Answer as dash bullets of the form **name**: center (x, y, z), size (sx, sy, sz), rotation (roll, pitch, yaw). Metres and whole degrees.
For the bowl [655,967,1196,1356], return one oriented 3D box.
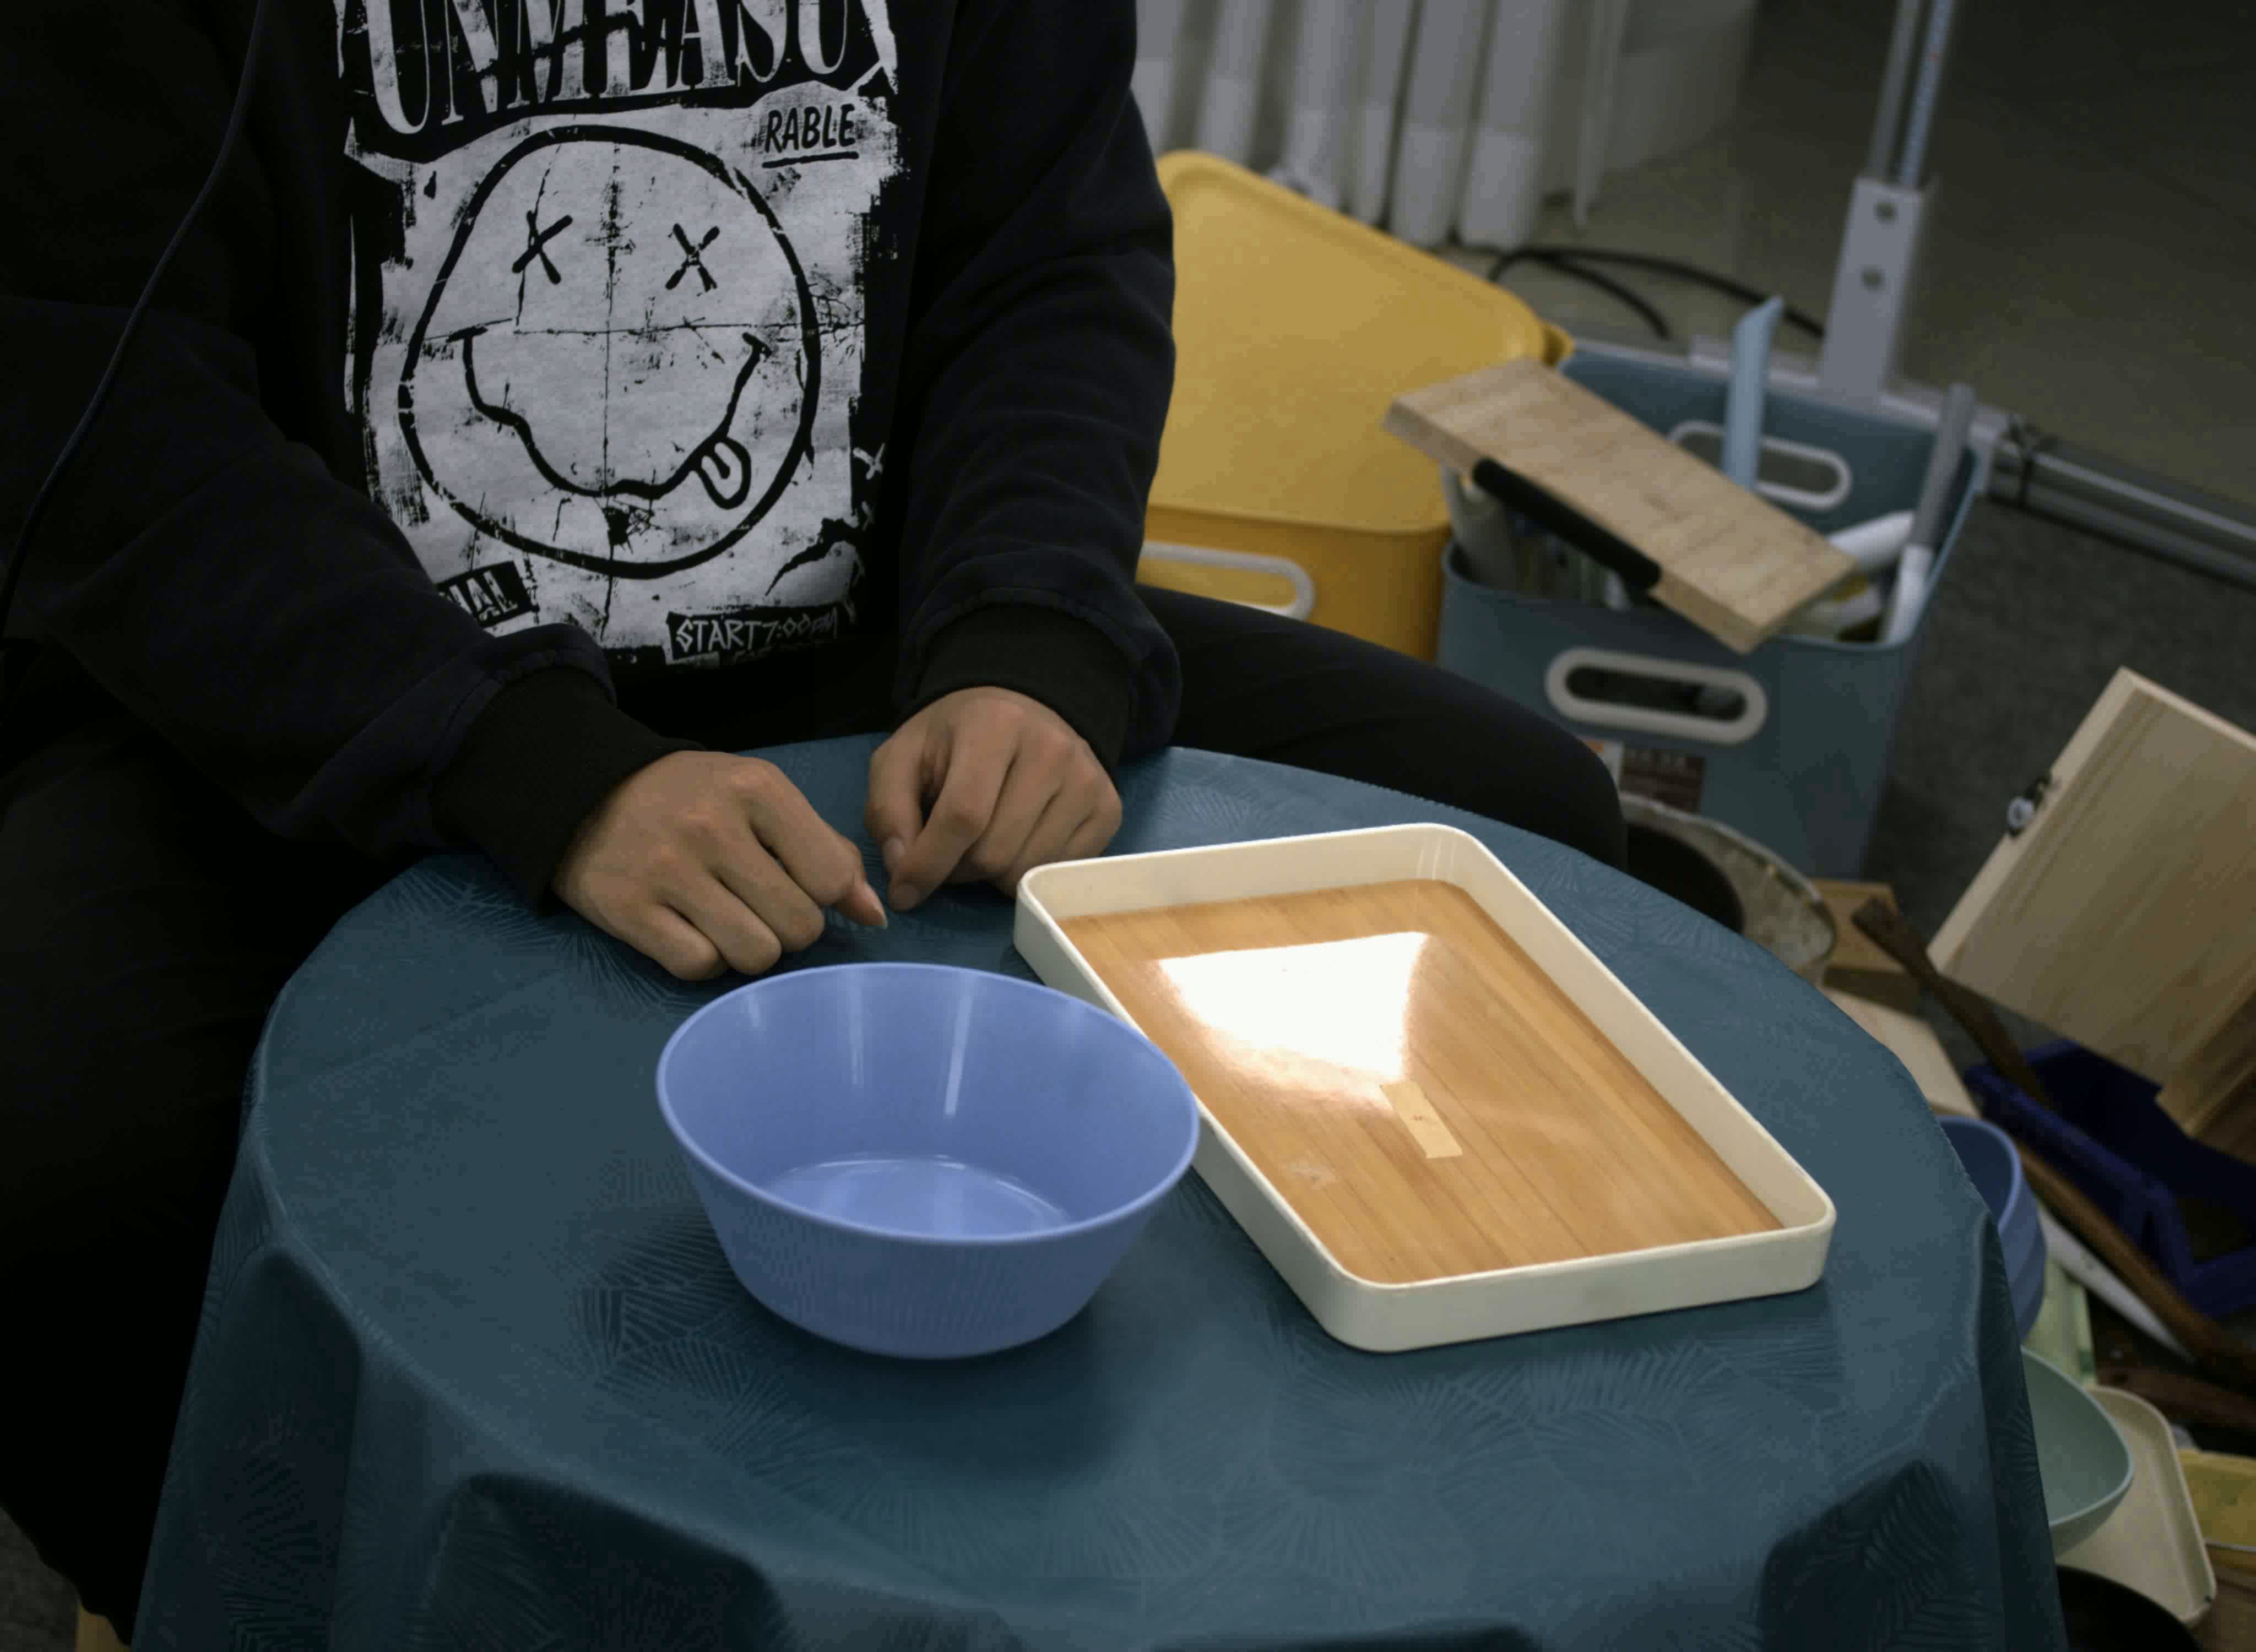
- **bowl**: center (-0.069, 0.114, 1.724), size (0.175, 0.070, 0.177), rotation (6, 26, -3)

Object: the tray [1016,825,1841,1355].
- **tray**: center (0.099, 0.086, 1.868), size (0.190, 0.027, 0.303), rotation (-6, 30, -23)
